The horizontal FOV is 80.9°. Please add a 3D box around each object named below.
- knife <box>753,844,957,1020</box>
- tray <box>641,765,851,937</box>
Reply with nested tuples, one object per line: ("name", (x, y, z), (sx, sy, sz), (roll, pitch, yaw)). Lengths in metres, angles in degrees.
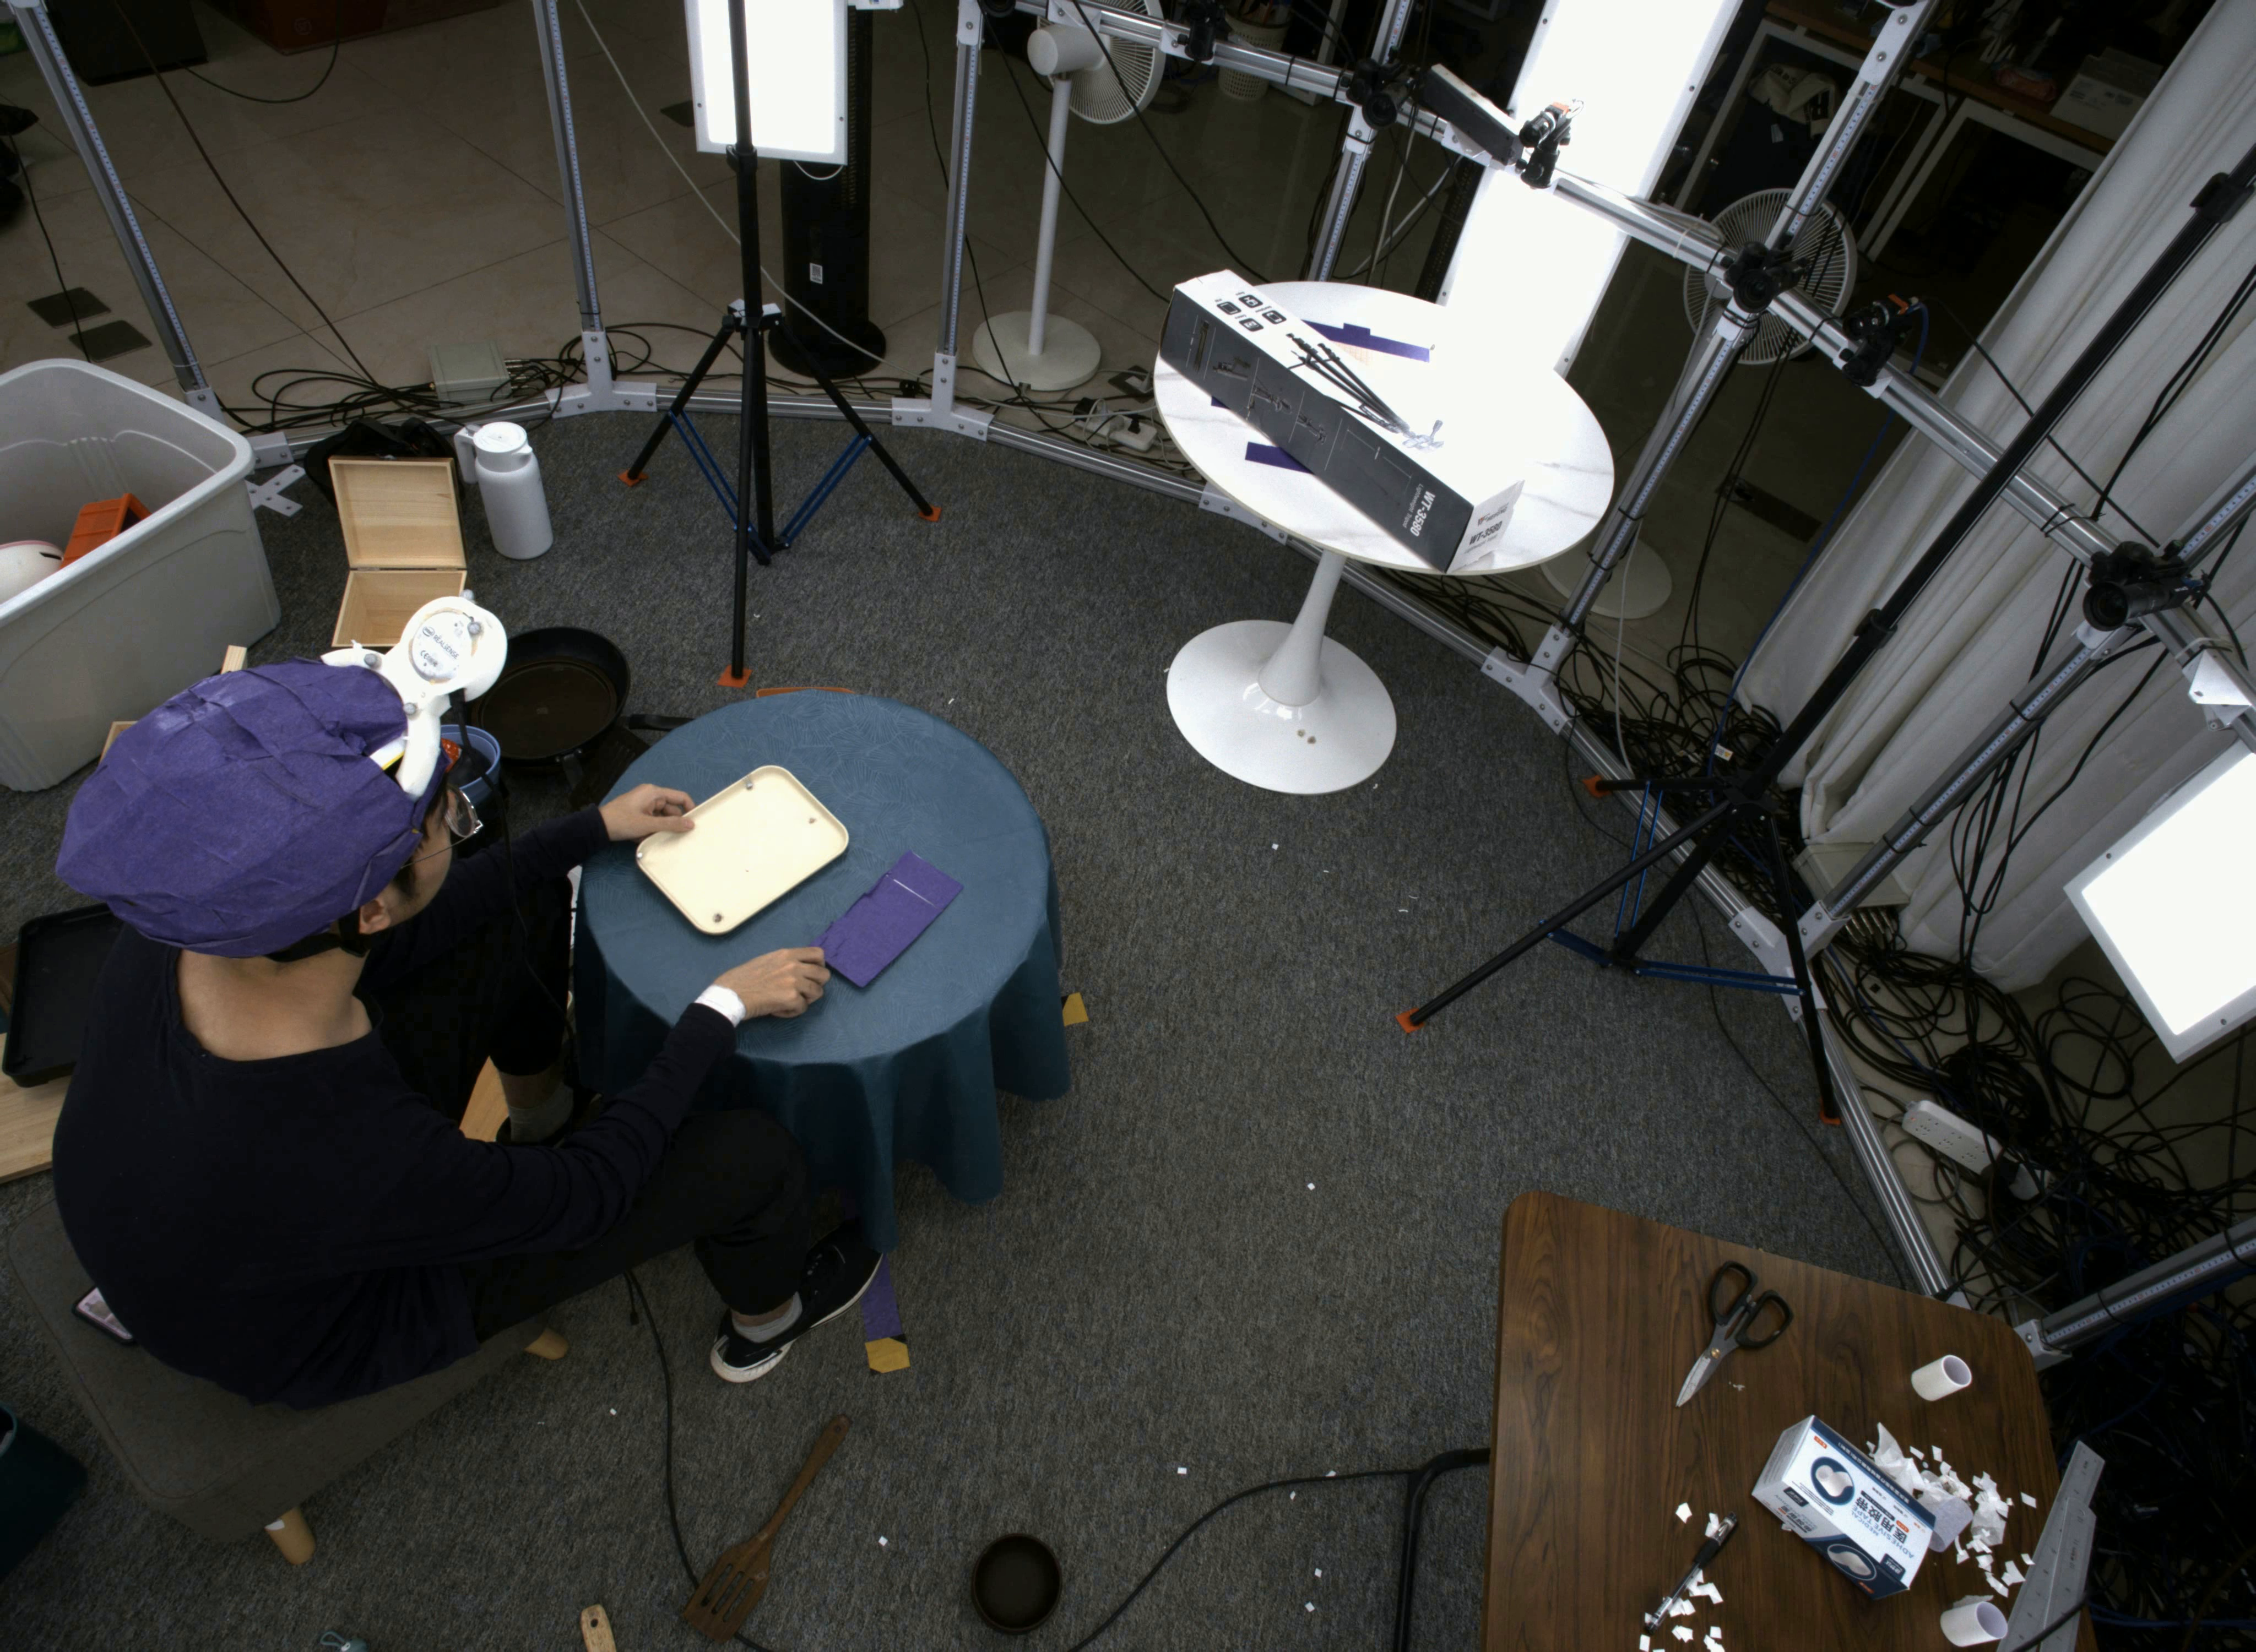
("knife", (-0.334, 0.140, 1.636), (0.102, 0.033, 0.314), (33, 53, 10))
("tray", (-0.493, 0.029, 1.675), (0.169, 0.018, 0.240), (44, 56, 10))
